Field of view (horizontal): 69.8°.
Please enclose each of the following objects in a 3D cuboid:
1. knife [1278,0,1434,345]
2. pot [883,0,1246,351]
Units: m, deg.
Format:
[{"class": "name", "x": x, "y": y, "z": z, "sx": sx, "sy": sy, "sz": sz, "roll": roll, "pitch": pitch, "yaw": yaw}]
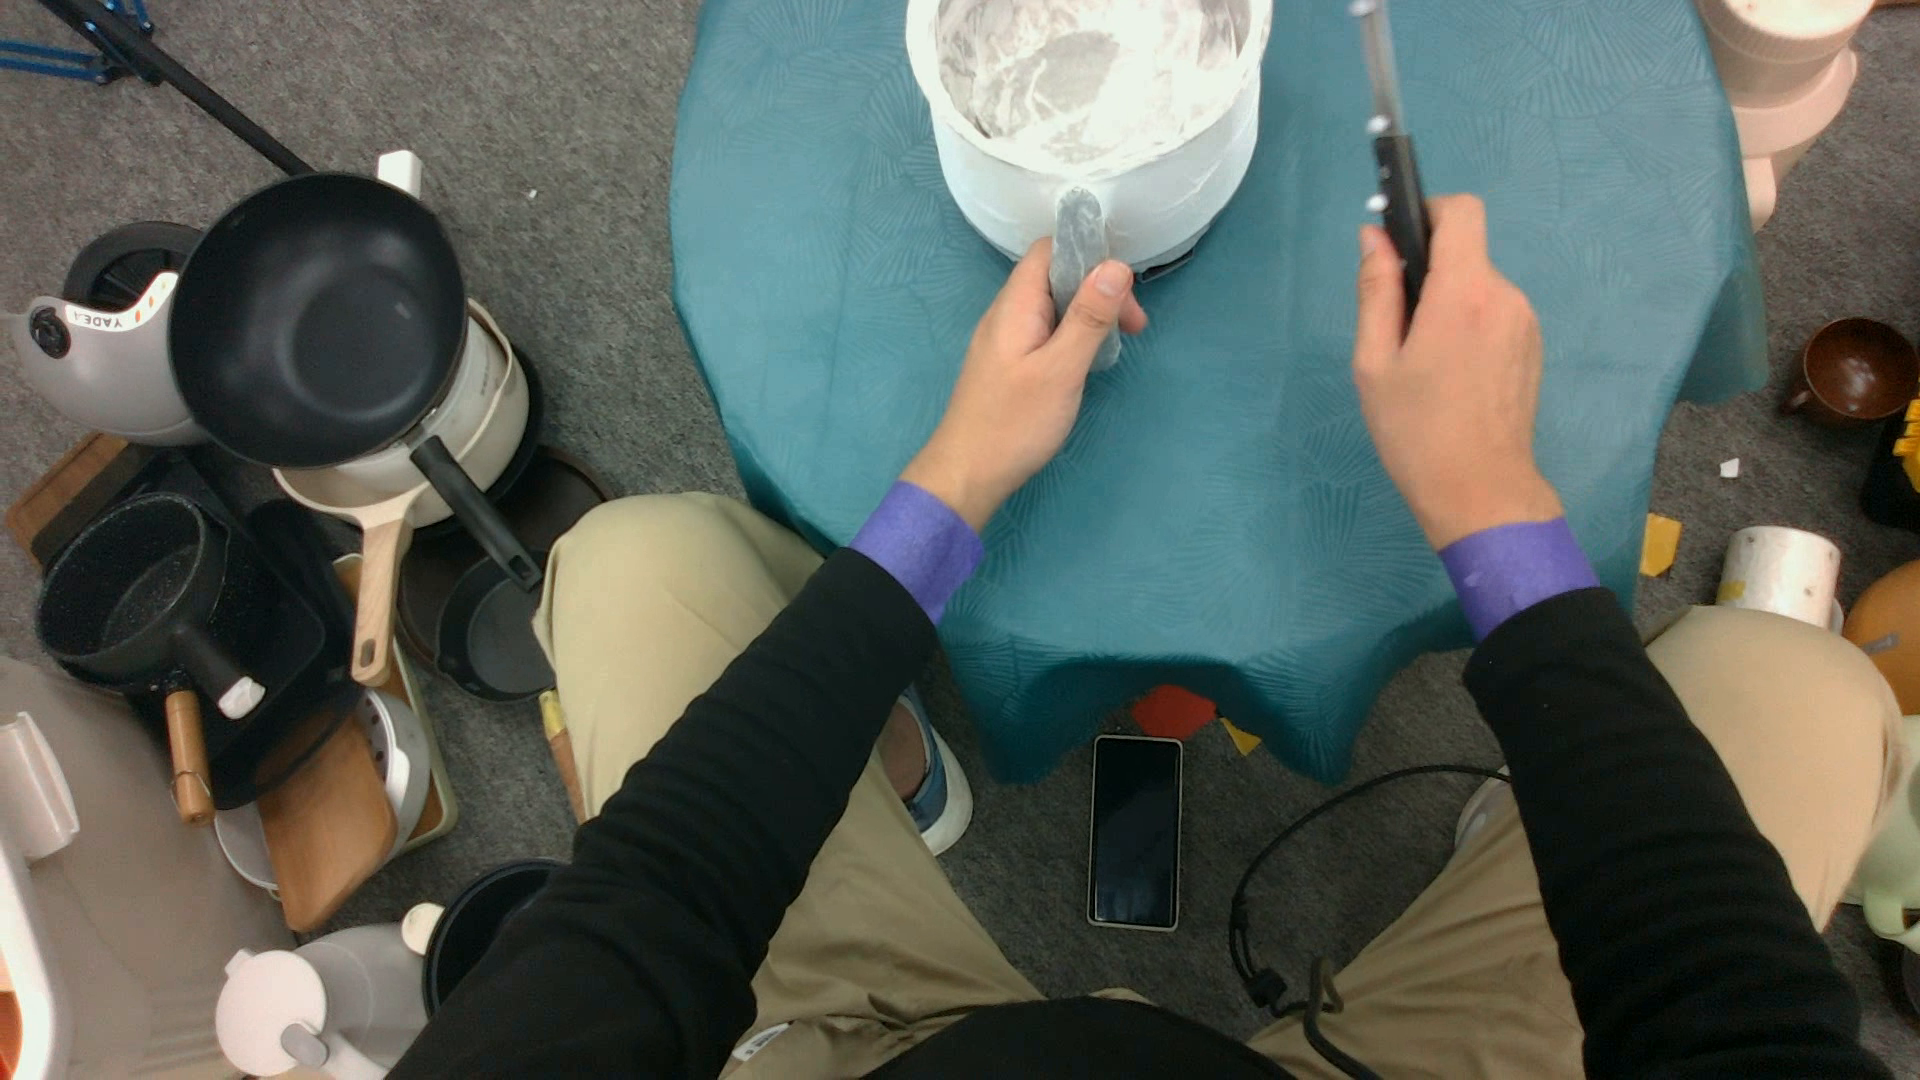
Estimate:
[{"class": "knife", "x": 0.166, "y": -0.186, "z": 0.610, "sx": 0.016, "sy": 0.024, "sz": 0.237, "roll": -29, "pitch": 115, "yaw": 4}, {"class": "pot", "x": 0.058, "y": -0.224, "z": 0.719, "sx": 0.178, "sy": 0.136, "sz": 0.234, "roll": 0, "pitch": 74, "yaw": 8}]
